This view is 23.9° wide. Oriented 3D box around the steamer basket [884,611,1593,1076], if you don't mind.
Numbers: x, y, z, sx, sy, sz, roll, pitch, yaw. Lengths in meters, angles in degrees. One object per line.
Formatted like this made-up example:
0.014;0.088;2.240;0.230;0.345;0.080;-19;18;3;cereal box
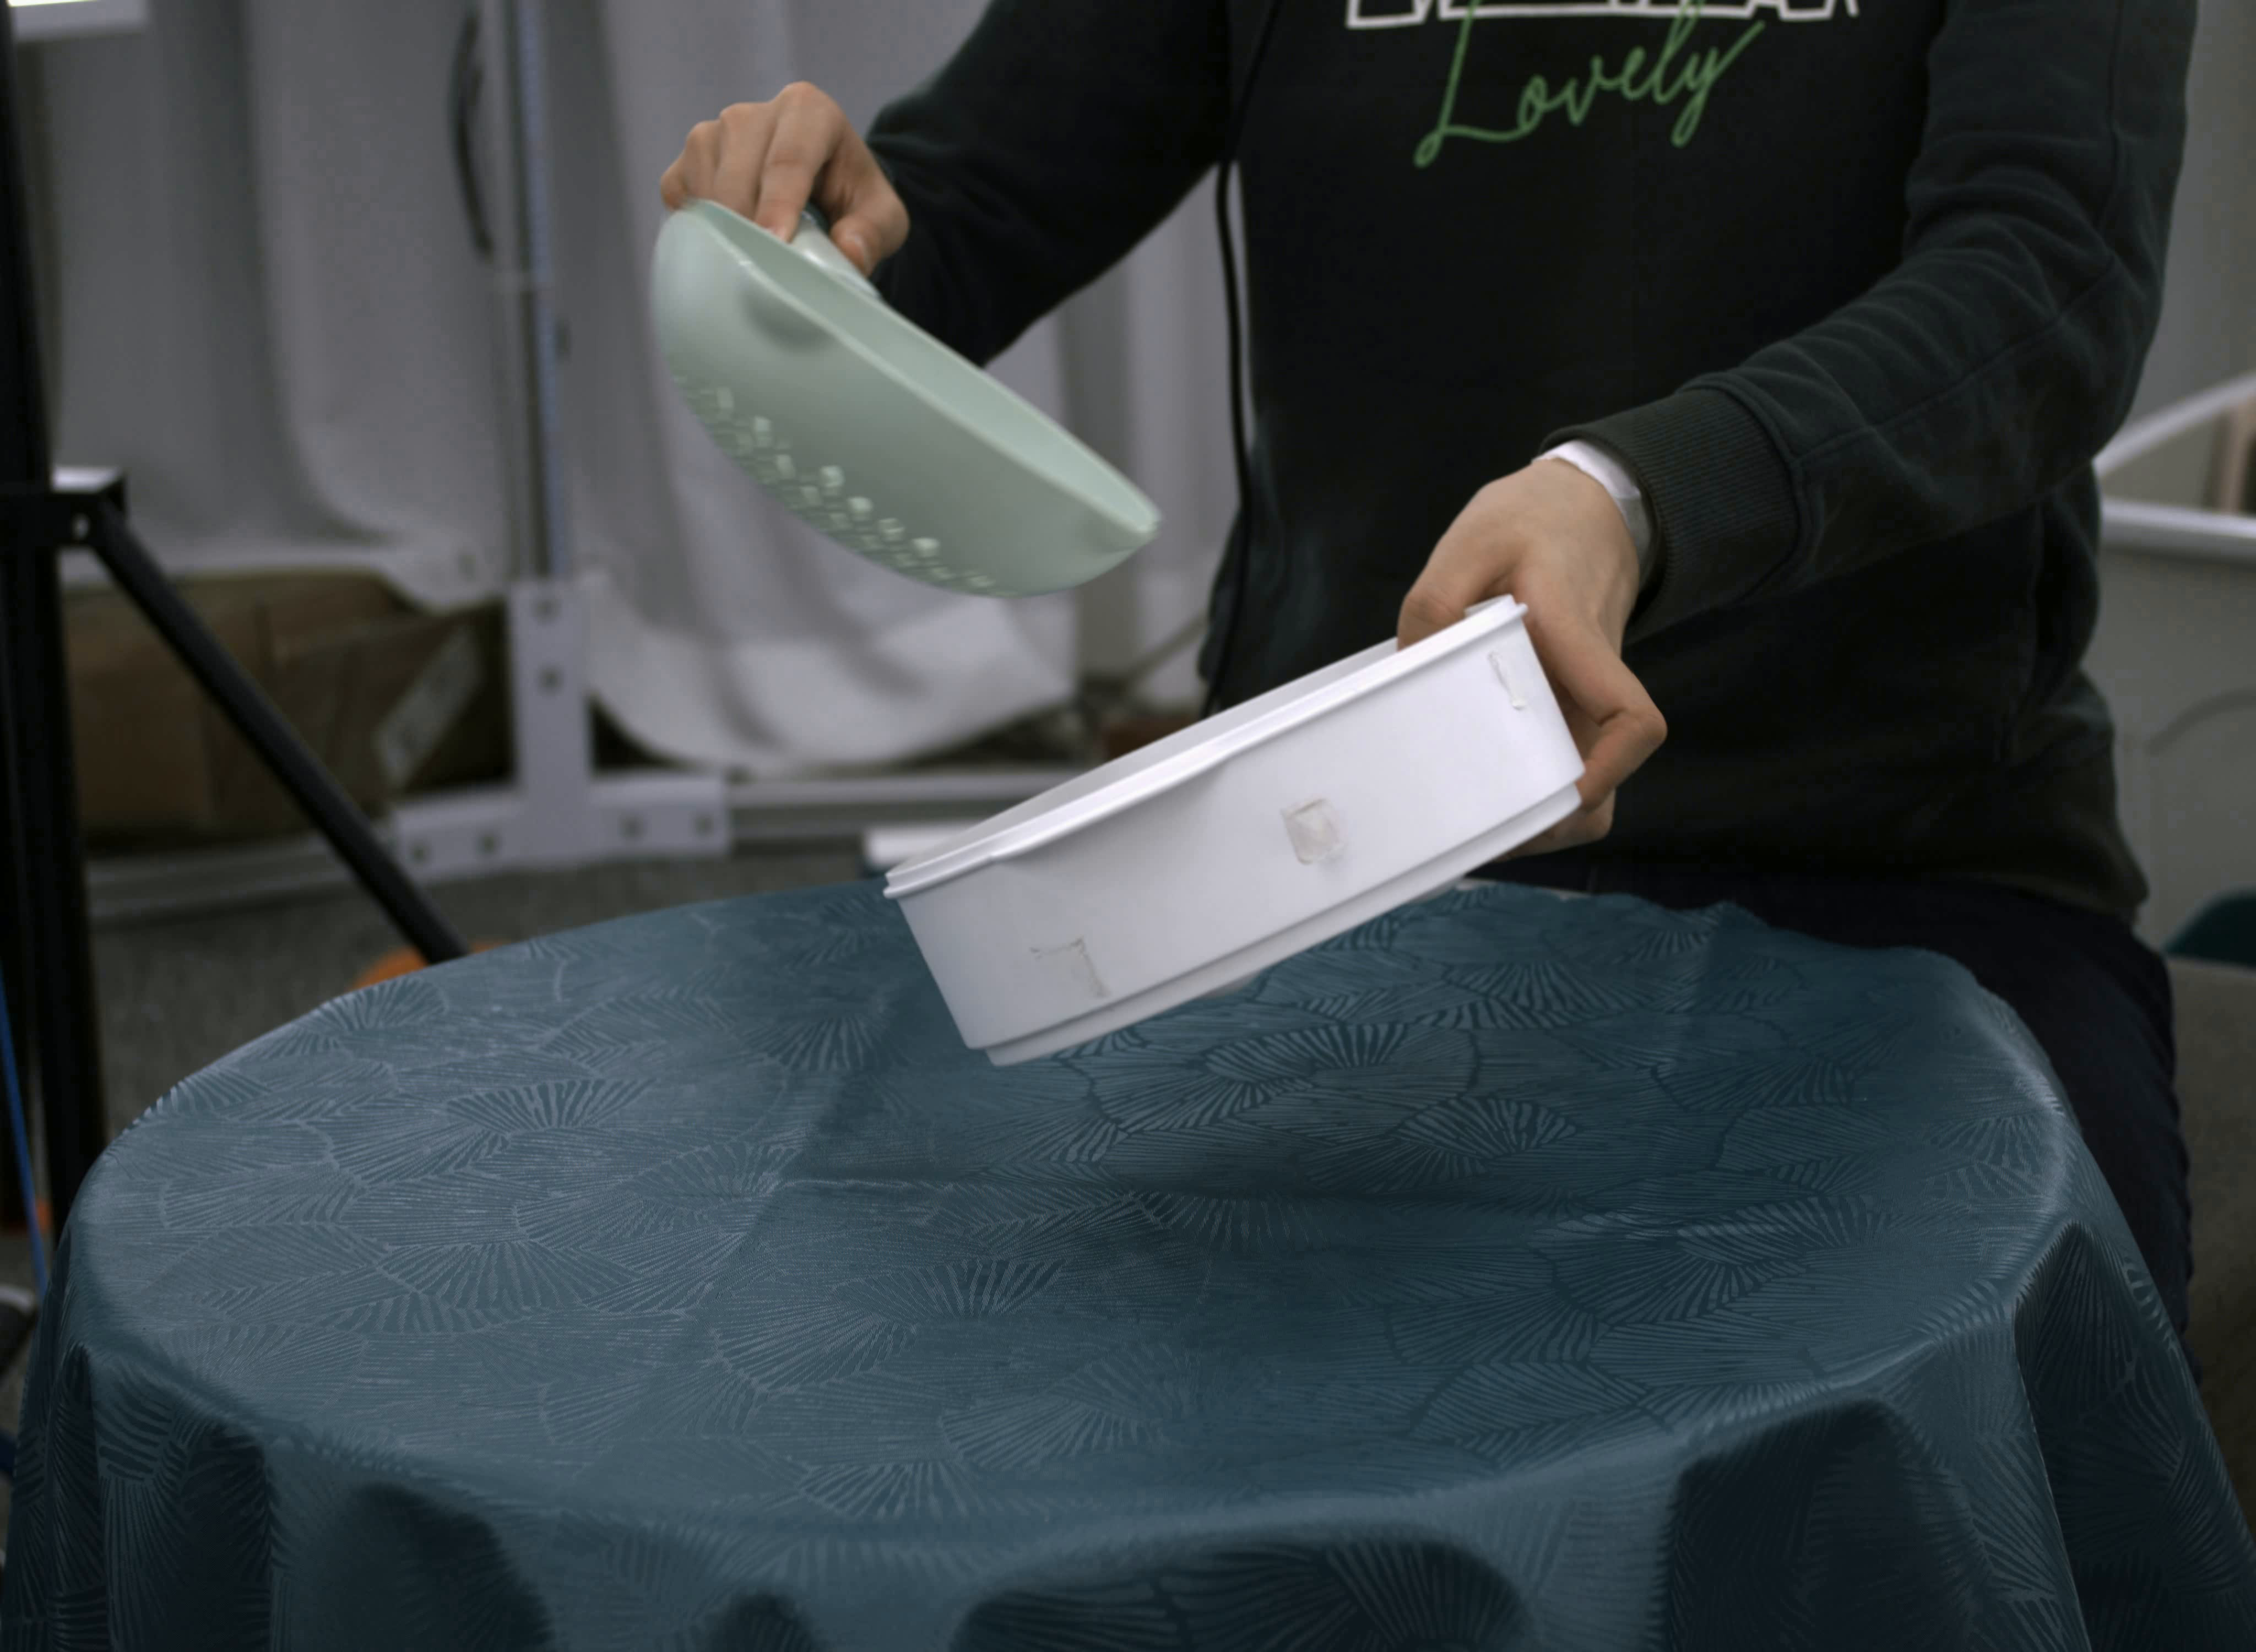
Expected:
0.034;0.008;1.506;0.203;0.069;0.228;-22;3;19;steamer basket

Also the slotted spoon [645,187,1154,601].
-0.091;-0.151;1.626;0.166;0.076;0.363;35;13;-20;slotted spoon
